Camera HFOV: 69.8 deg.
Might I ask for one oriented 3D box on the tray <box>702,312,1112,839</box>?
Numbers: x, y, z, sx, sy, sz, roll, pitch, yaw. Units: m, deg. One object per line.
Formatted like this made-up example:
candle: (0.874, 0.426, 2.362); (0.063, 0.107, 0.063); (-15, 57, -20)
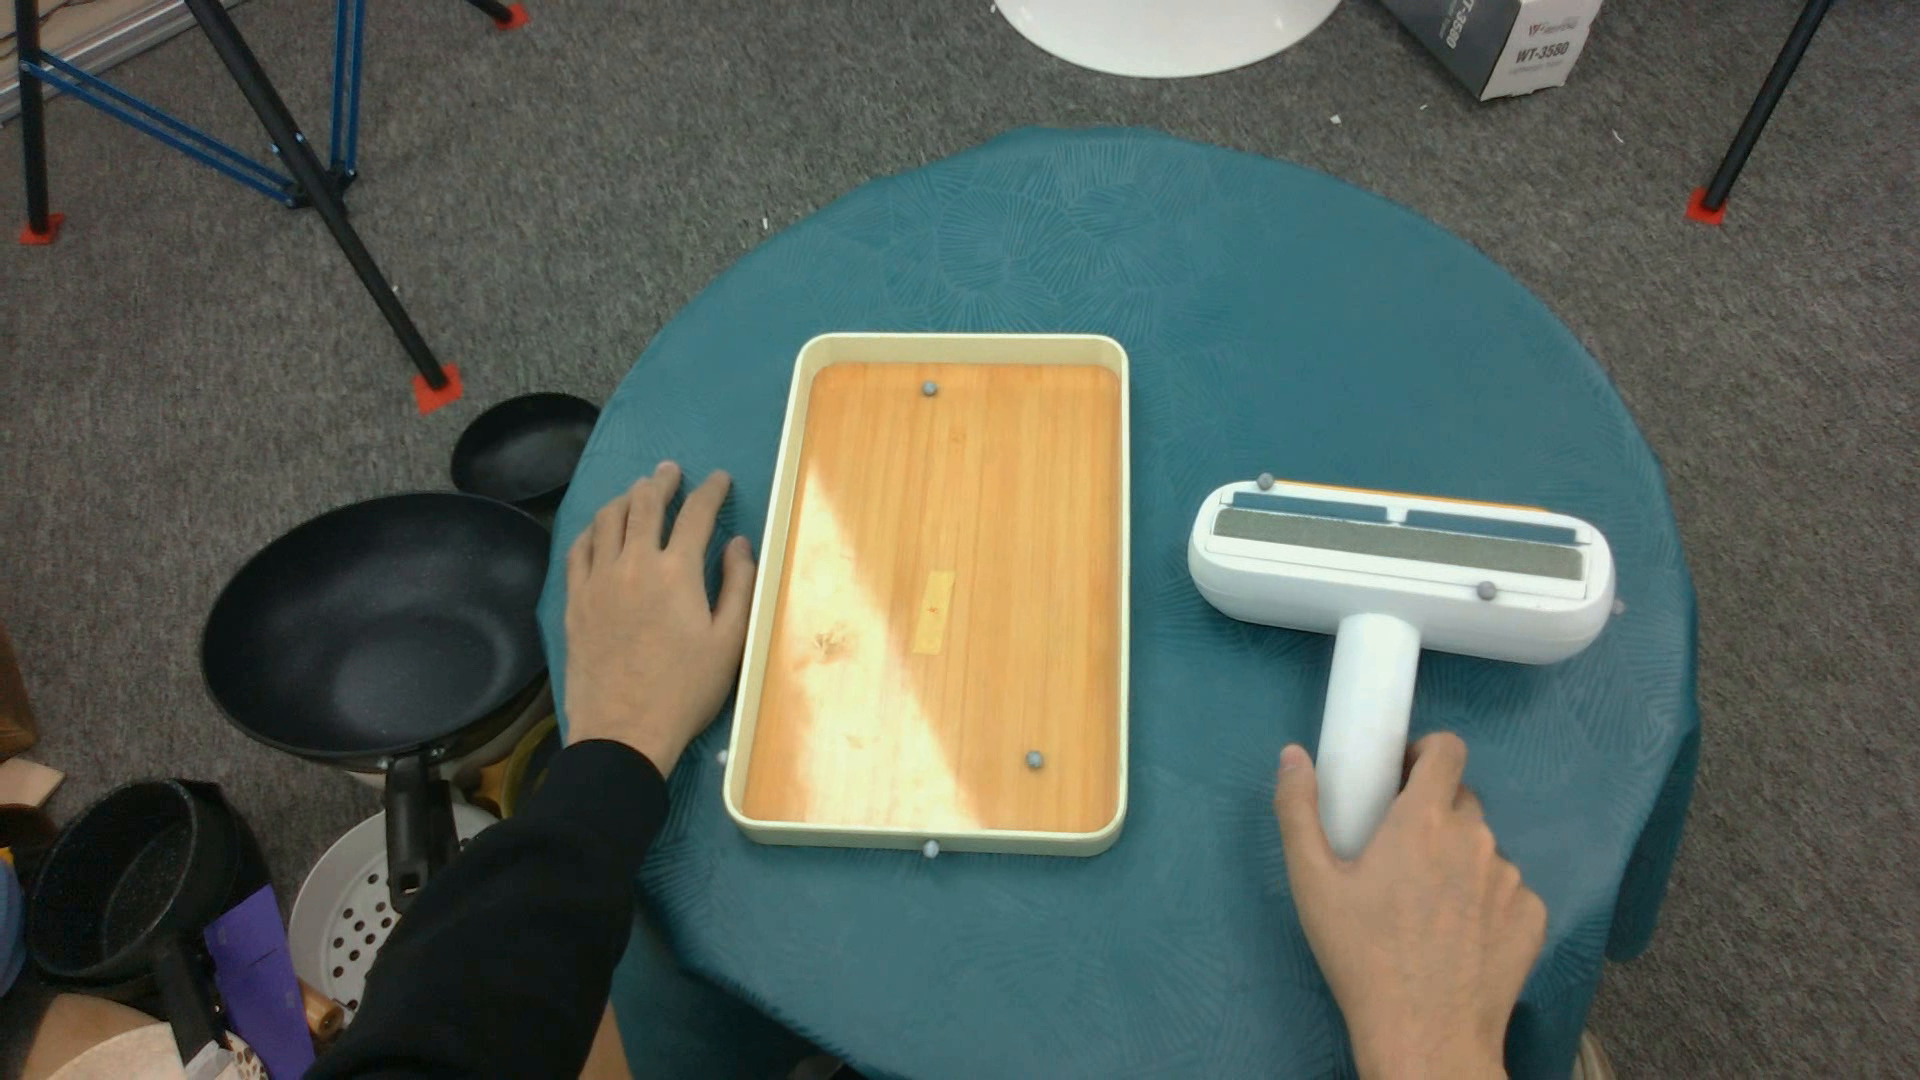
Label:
tray: (-0.018, 0.005, 0.716); (0.191, 0.027, 0.301); (2, 58, 4)

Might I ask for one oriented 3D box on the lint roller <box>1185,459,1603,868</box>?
lint roller: (0.186, 0.057, 0.646); (0.192, 0.074, 0.193); (14, 61, 18)
